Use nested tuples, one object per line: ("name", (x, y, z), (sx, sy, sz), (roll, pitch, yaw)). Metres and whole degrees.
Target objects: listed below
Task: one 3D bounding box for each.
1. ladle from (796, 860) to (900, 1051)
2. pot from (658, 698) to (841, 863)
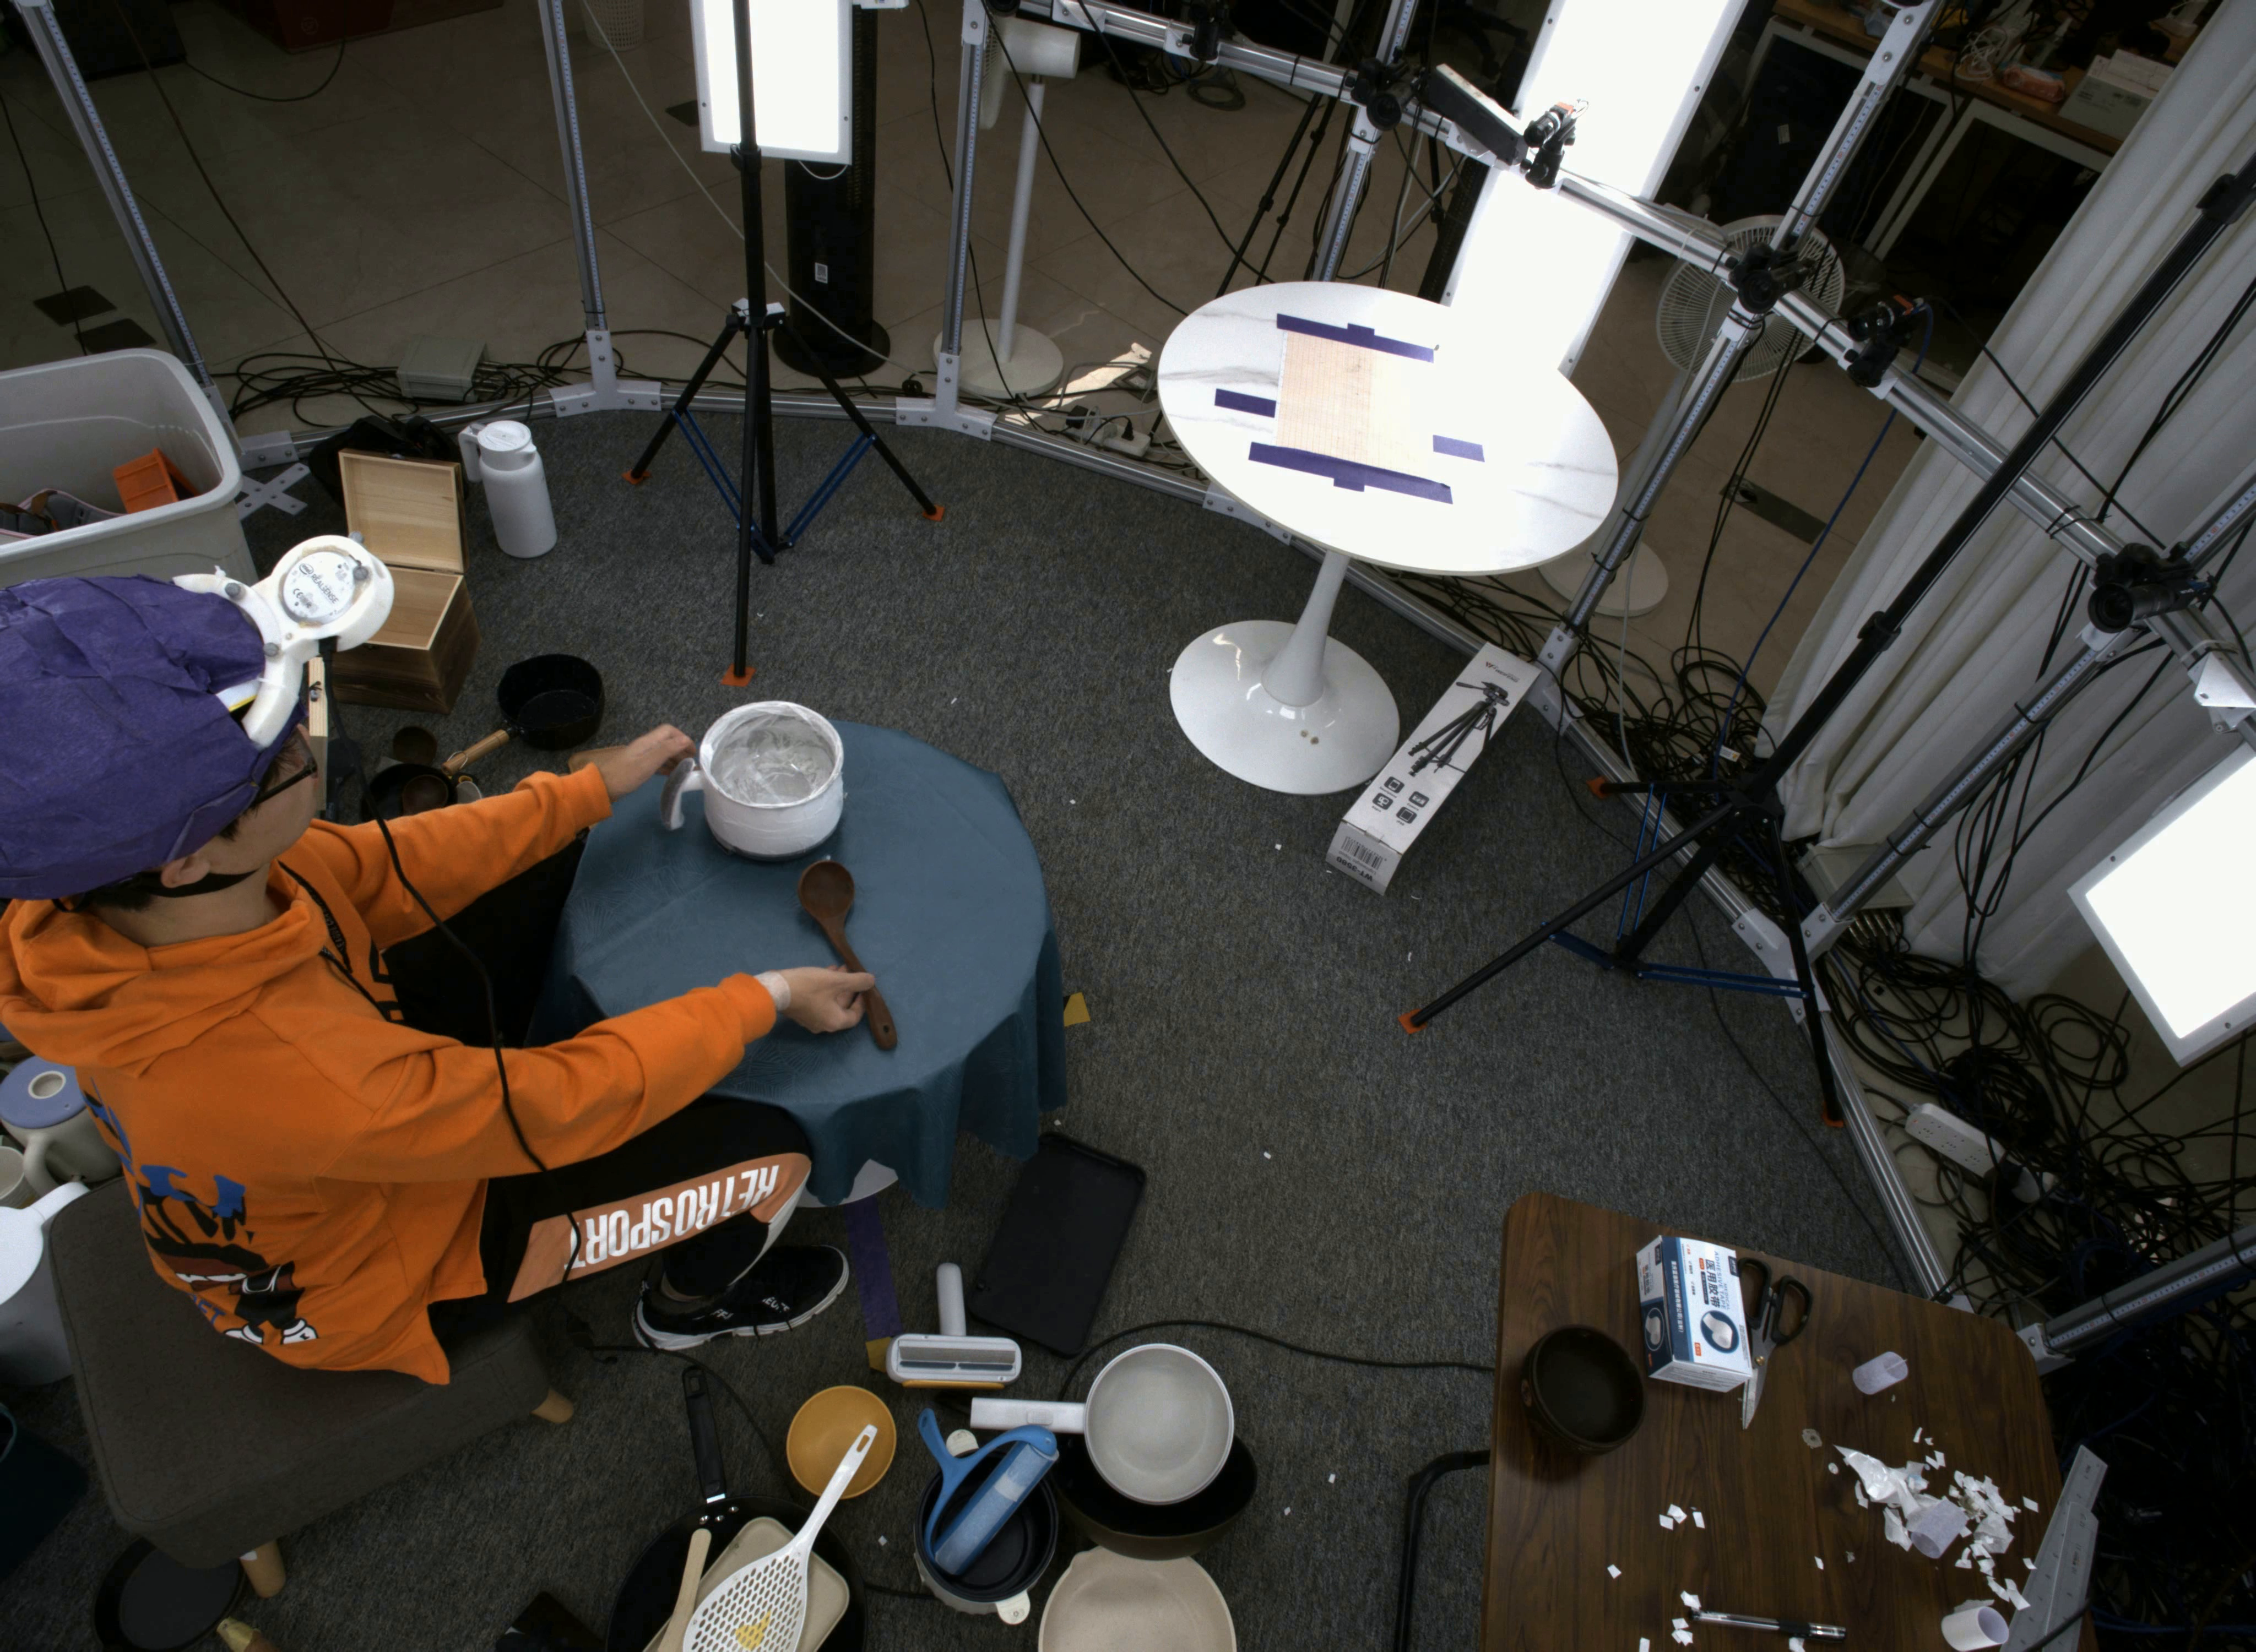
("ladle", (-0.333, 0.152, 1.583), (0.077, 0.066, 0.253), (-14, 57, -33))
("pot", (-0.483, -0.050, 1.647), (0.235, 0.139, 0.174), (-10, 56, -21))
